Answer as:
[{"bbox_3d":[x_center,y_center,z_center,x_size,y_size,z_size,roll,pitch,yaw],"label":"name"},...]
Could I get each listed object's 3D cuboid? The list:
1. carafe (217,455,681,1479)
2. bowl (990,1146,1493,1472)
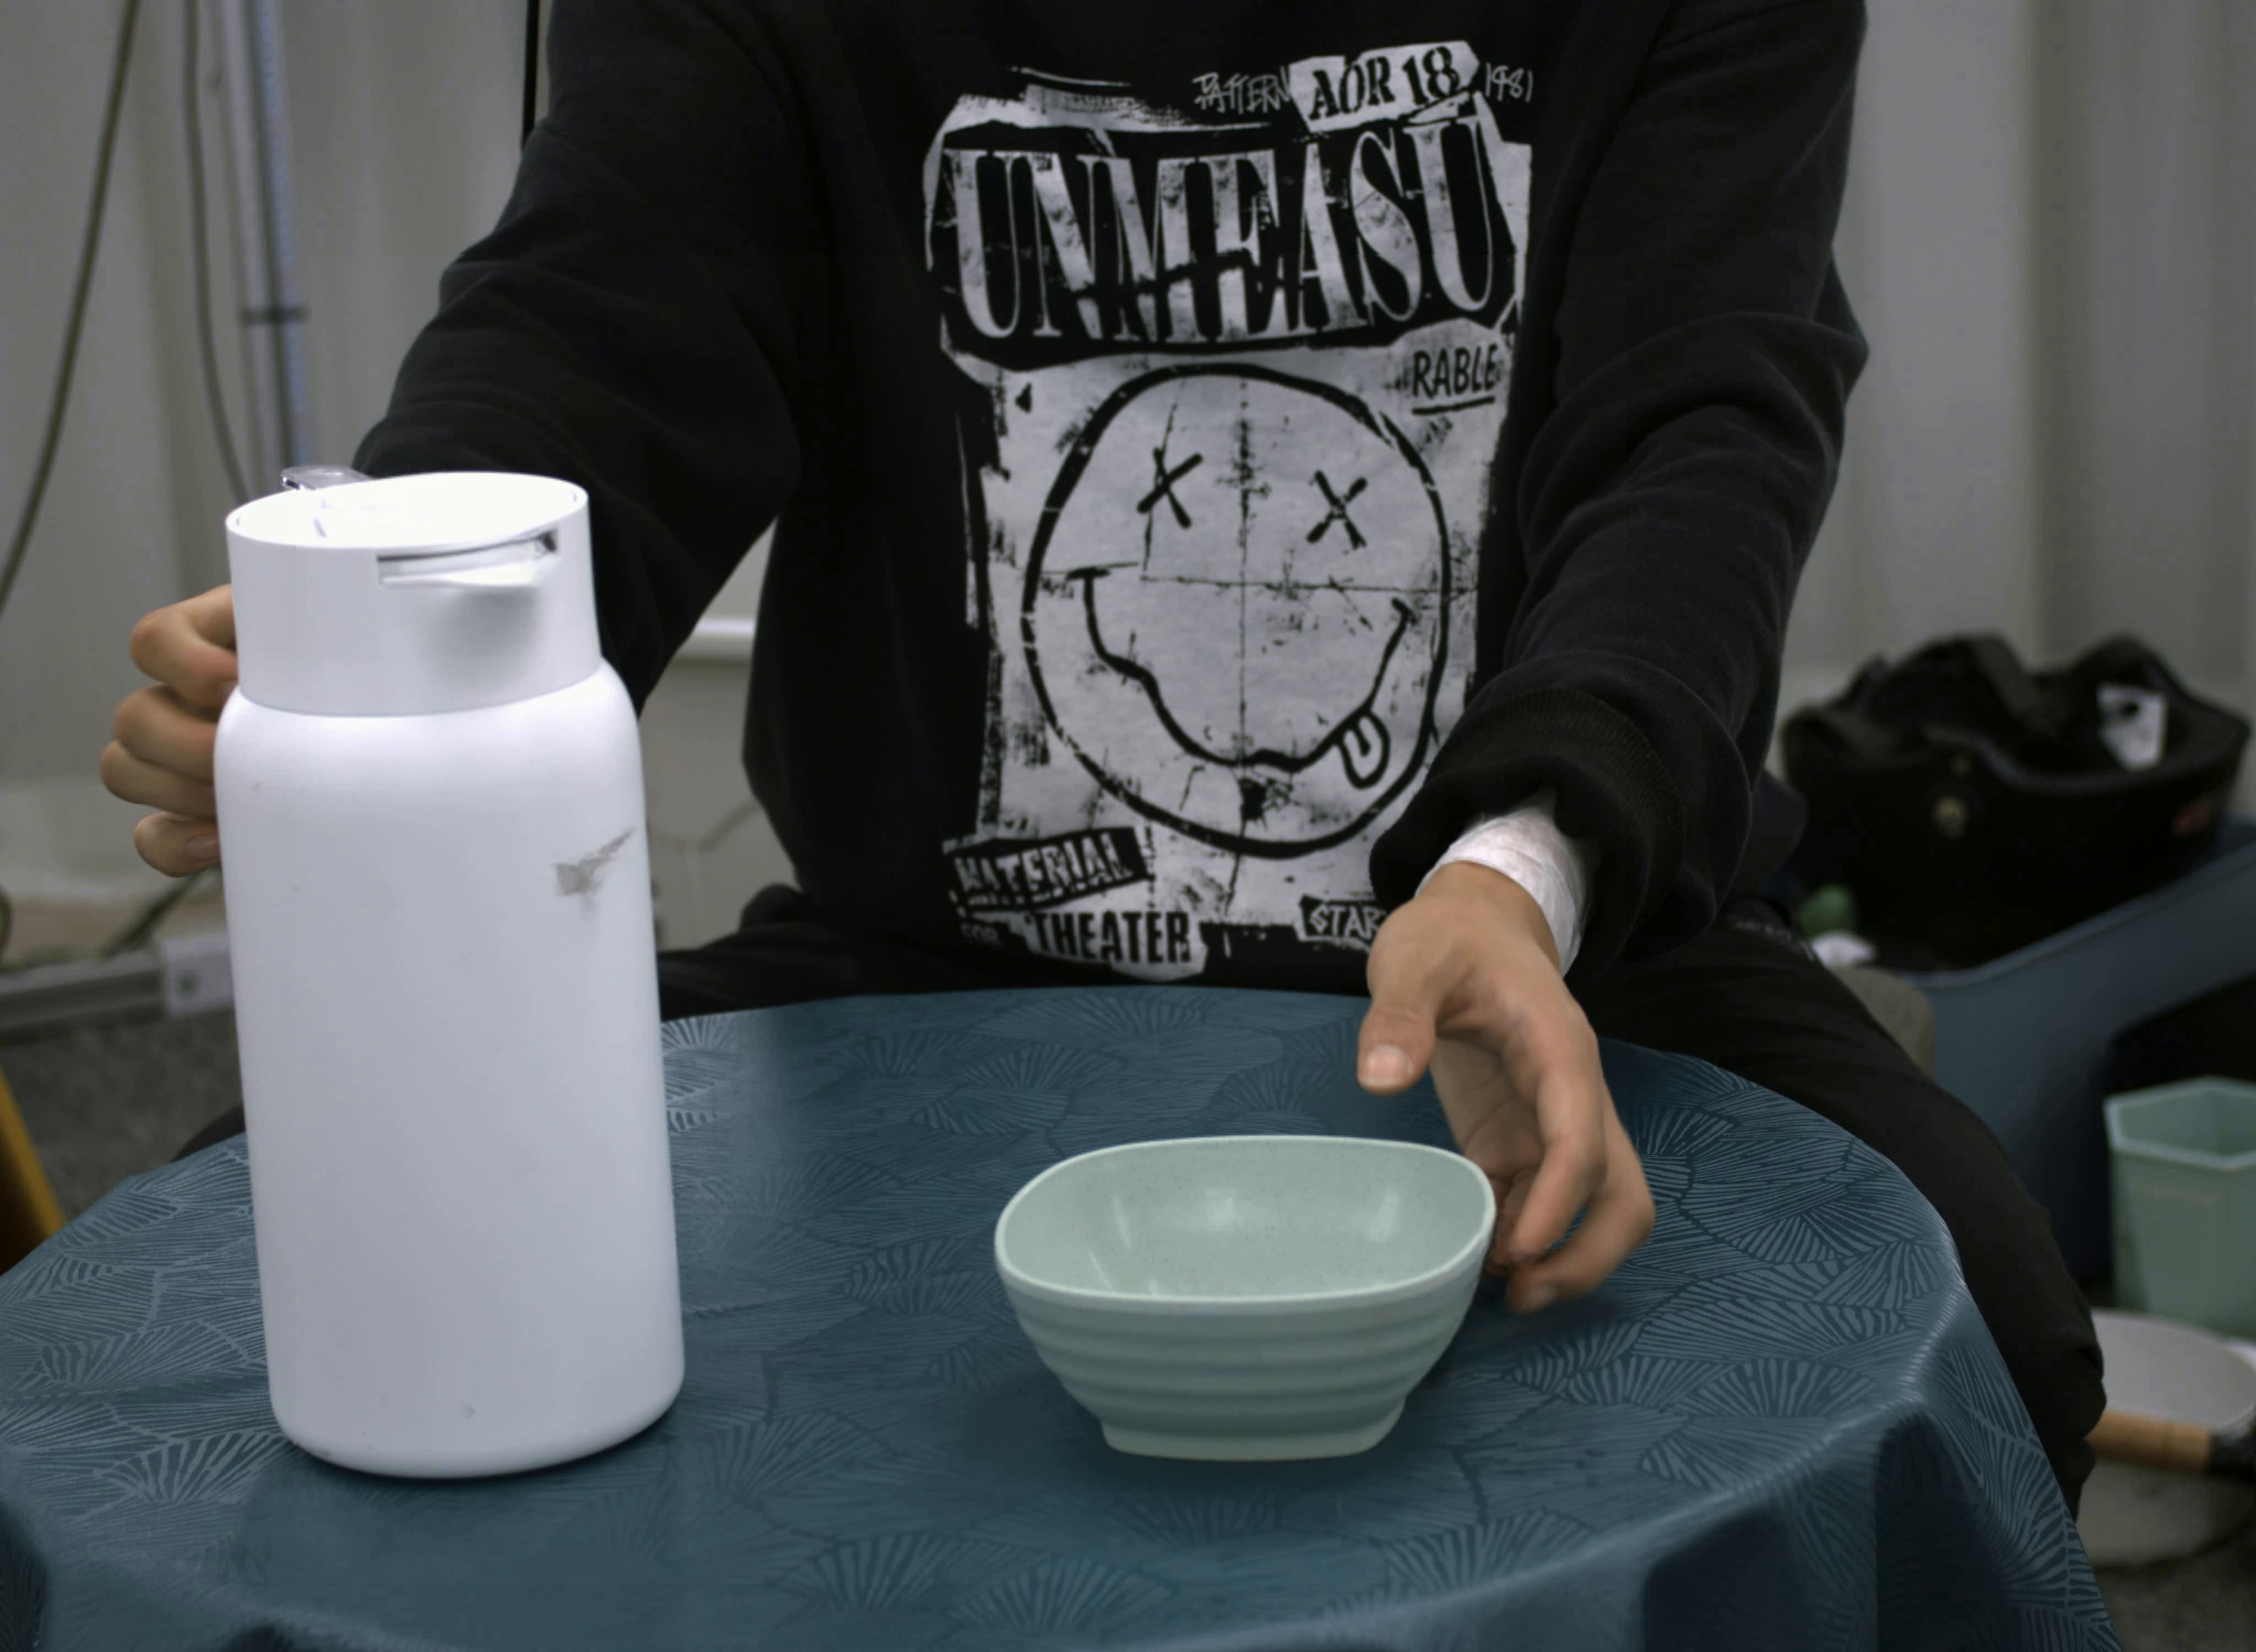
[{"bbox_3d":[-0.199,0.036,1.534,0.123,0.268,0.174,-13,17,-29],"label":"carafe"},{"bbox_3d":[0.033,0.138,1.521,0.151,0.058,0.152,-2,14,0],"label":"bowl"}]
